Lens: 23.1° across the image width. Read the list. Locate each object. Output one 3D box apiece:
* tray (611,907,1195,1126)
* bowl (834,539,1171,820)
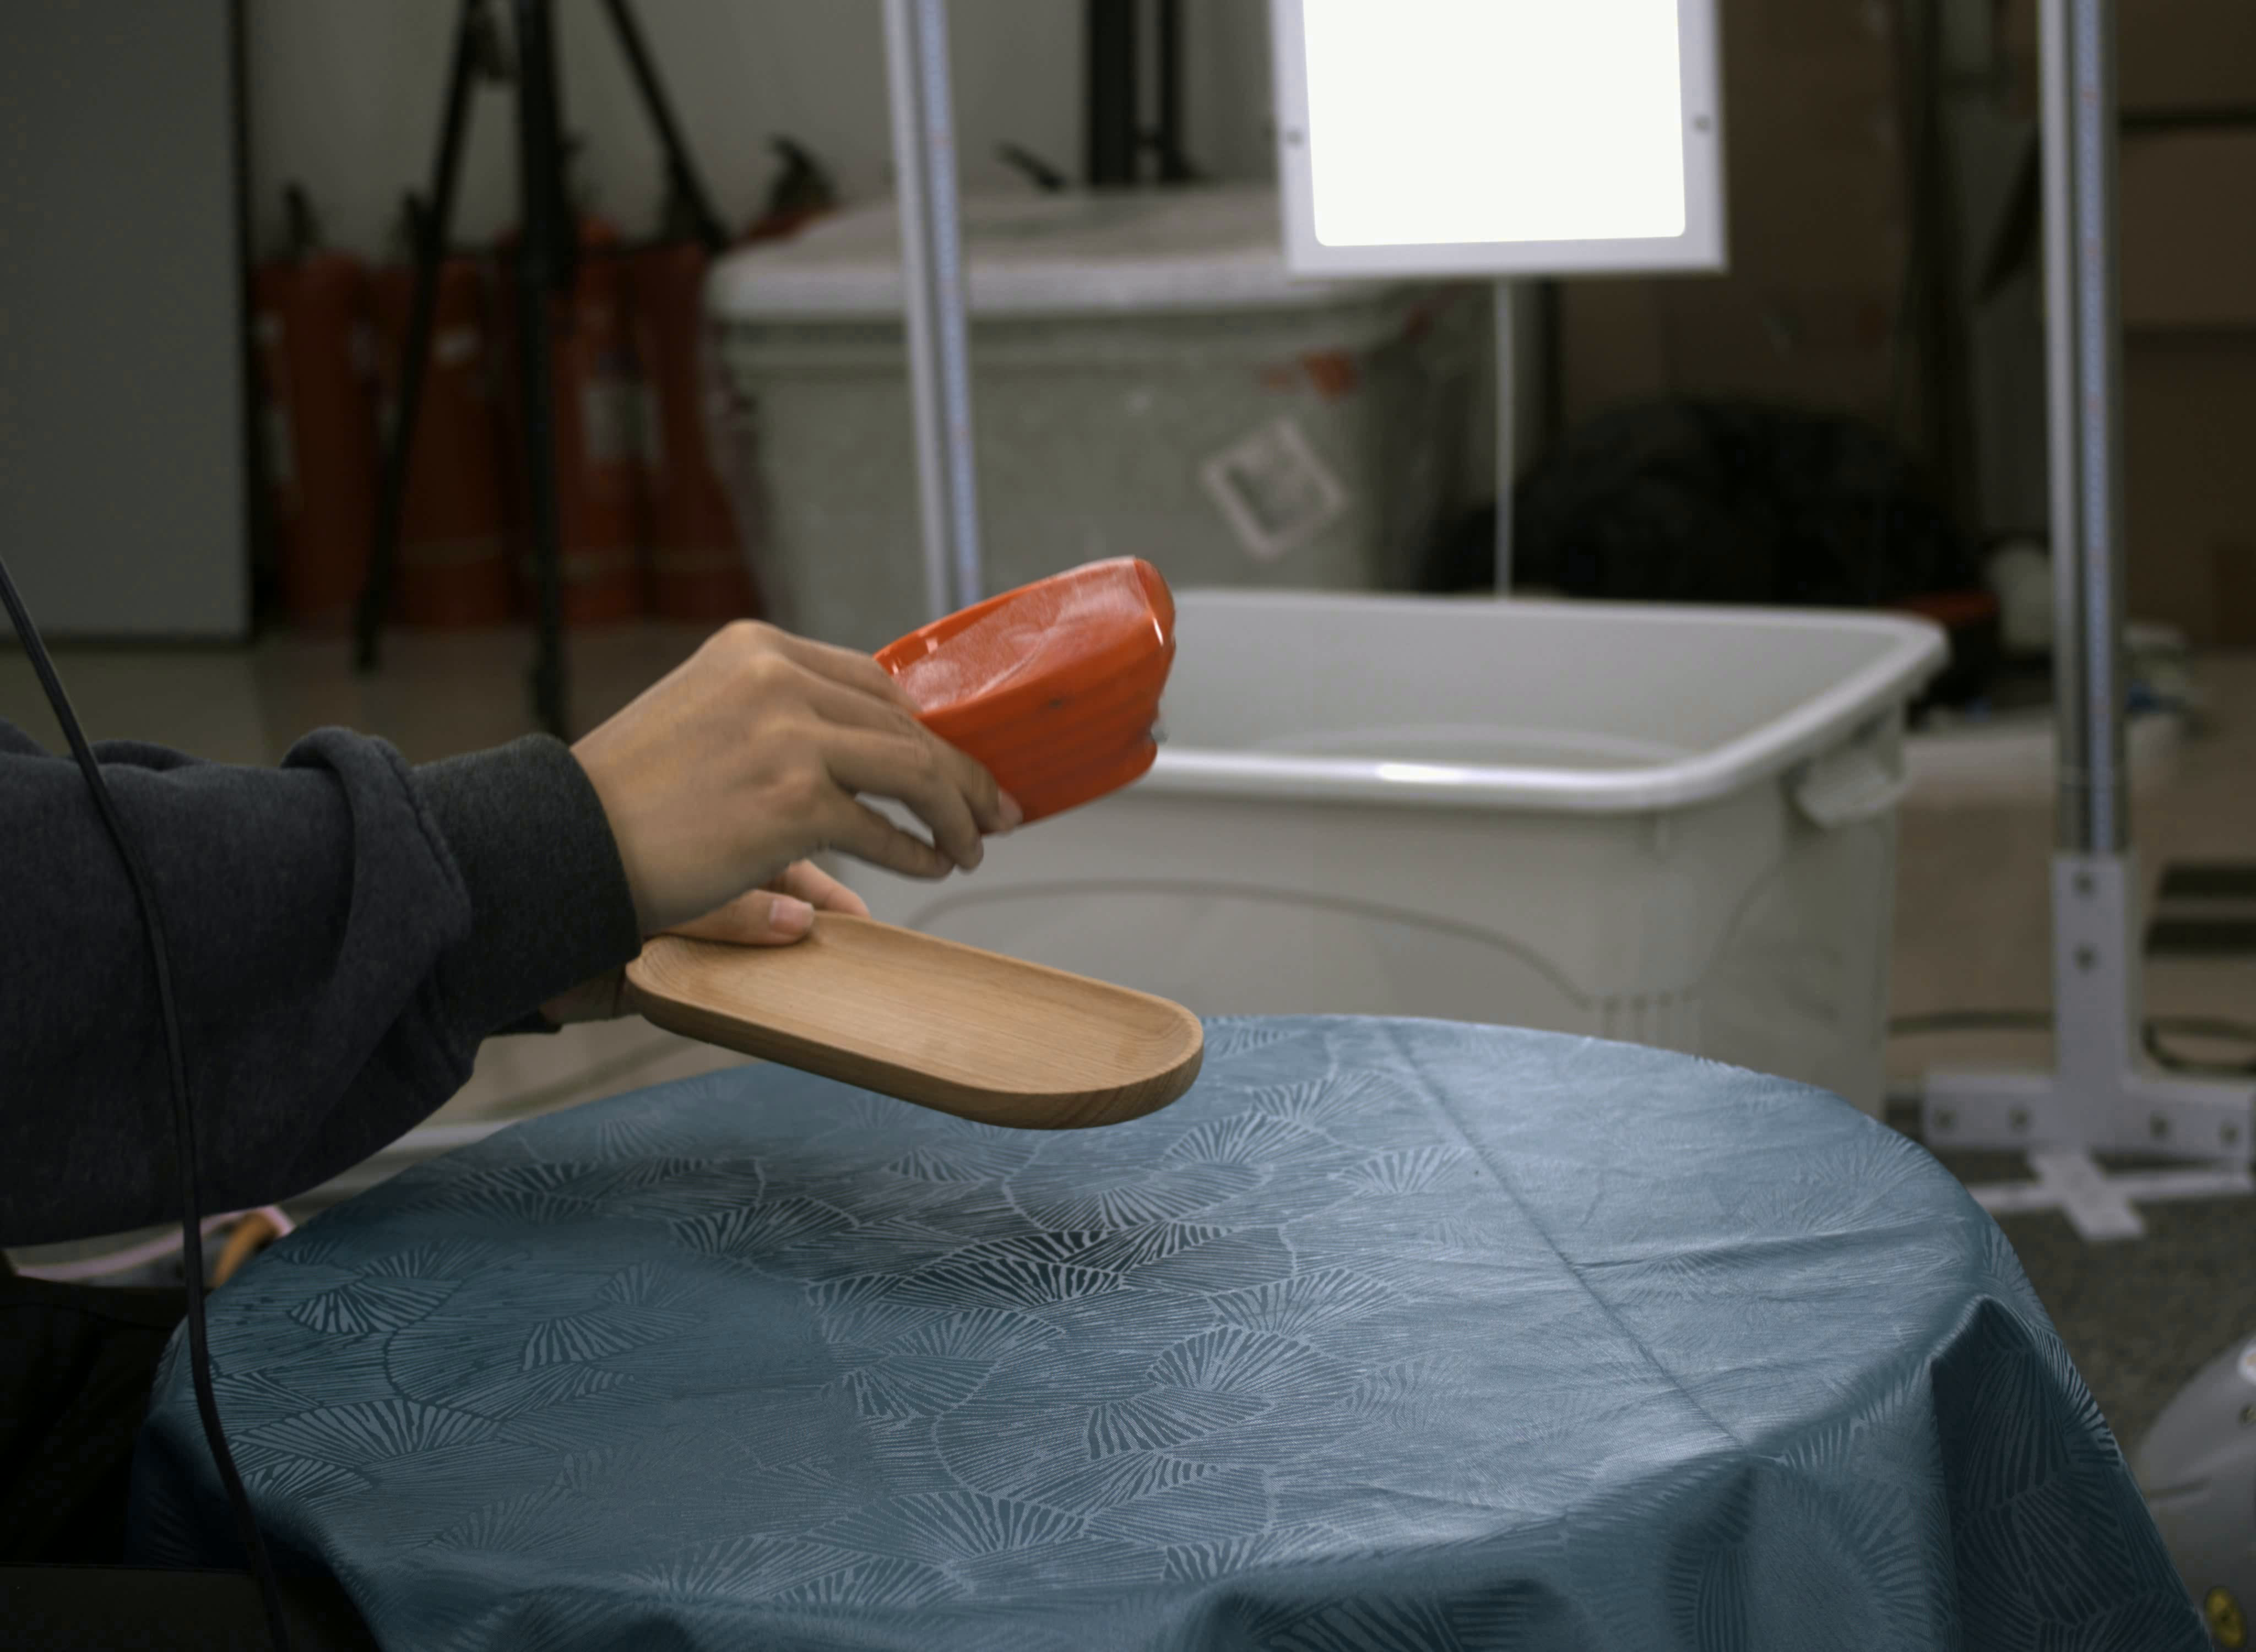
[{"bbox_3d":[-0.078,0.064,1.874,0.236,0.020,0.099,12,23,39],"label":"tray"},{"bbox_3d":[-0.032,-0.041,1.704,0.119,0.051,0.119,-22,16,5],"label":"bowl"}]
